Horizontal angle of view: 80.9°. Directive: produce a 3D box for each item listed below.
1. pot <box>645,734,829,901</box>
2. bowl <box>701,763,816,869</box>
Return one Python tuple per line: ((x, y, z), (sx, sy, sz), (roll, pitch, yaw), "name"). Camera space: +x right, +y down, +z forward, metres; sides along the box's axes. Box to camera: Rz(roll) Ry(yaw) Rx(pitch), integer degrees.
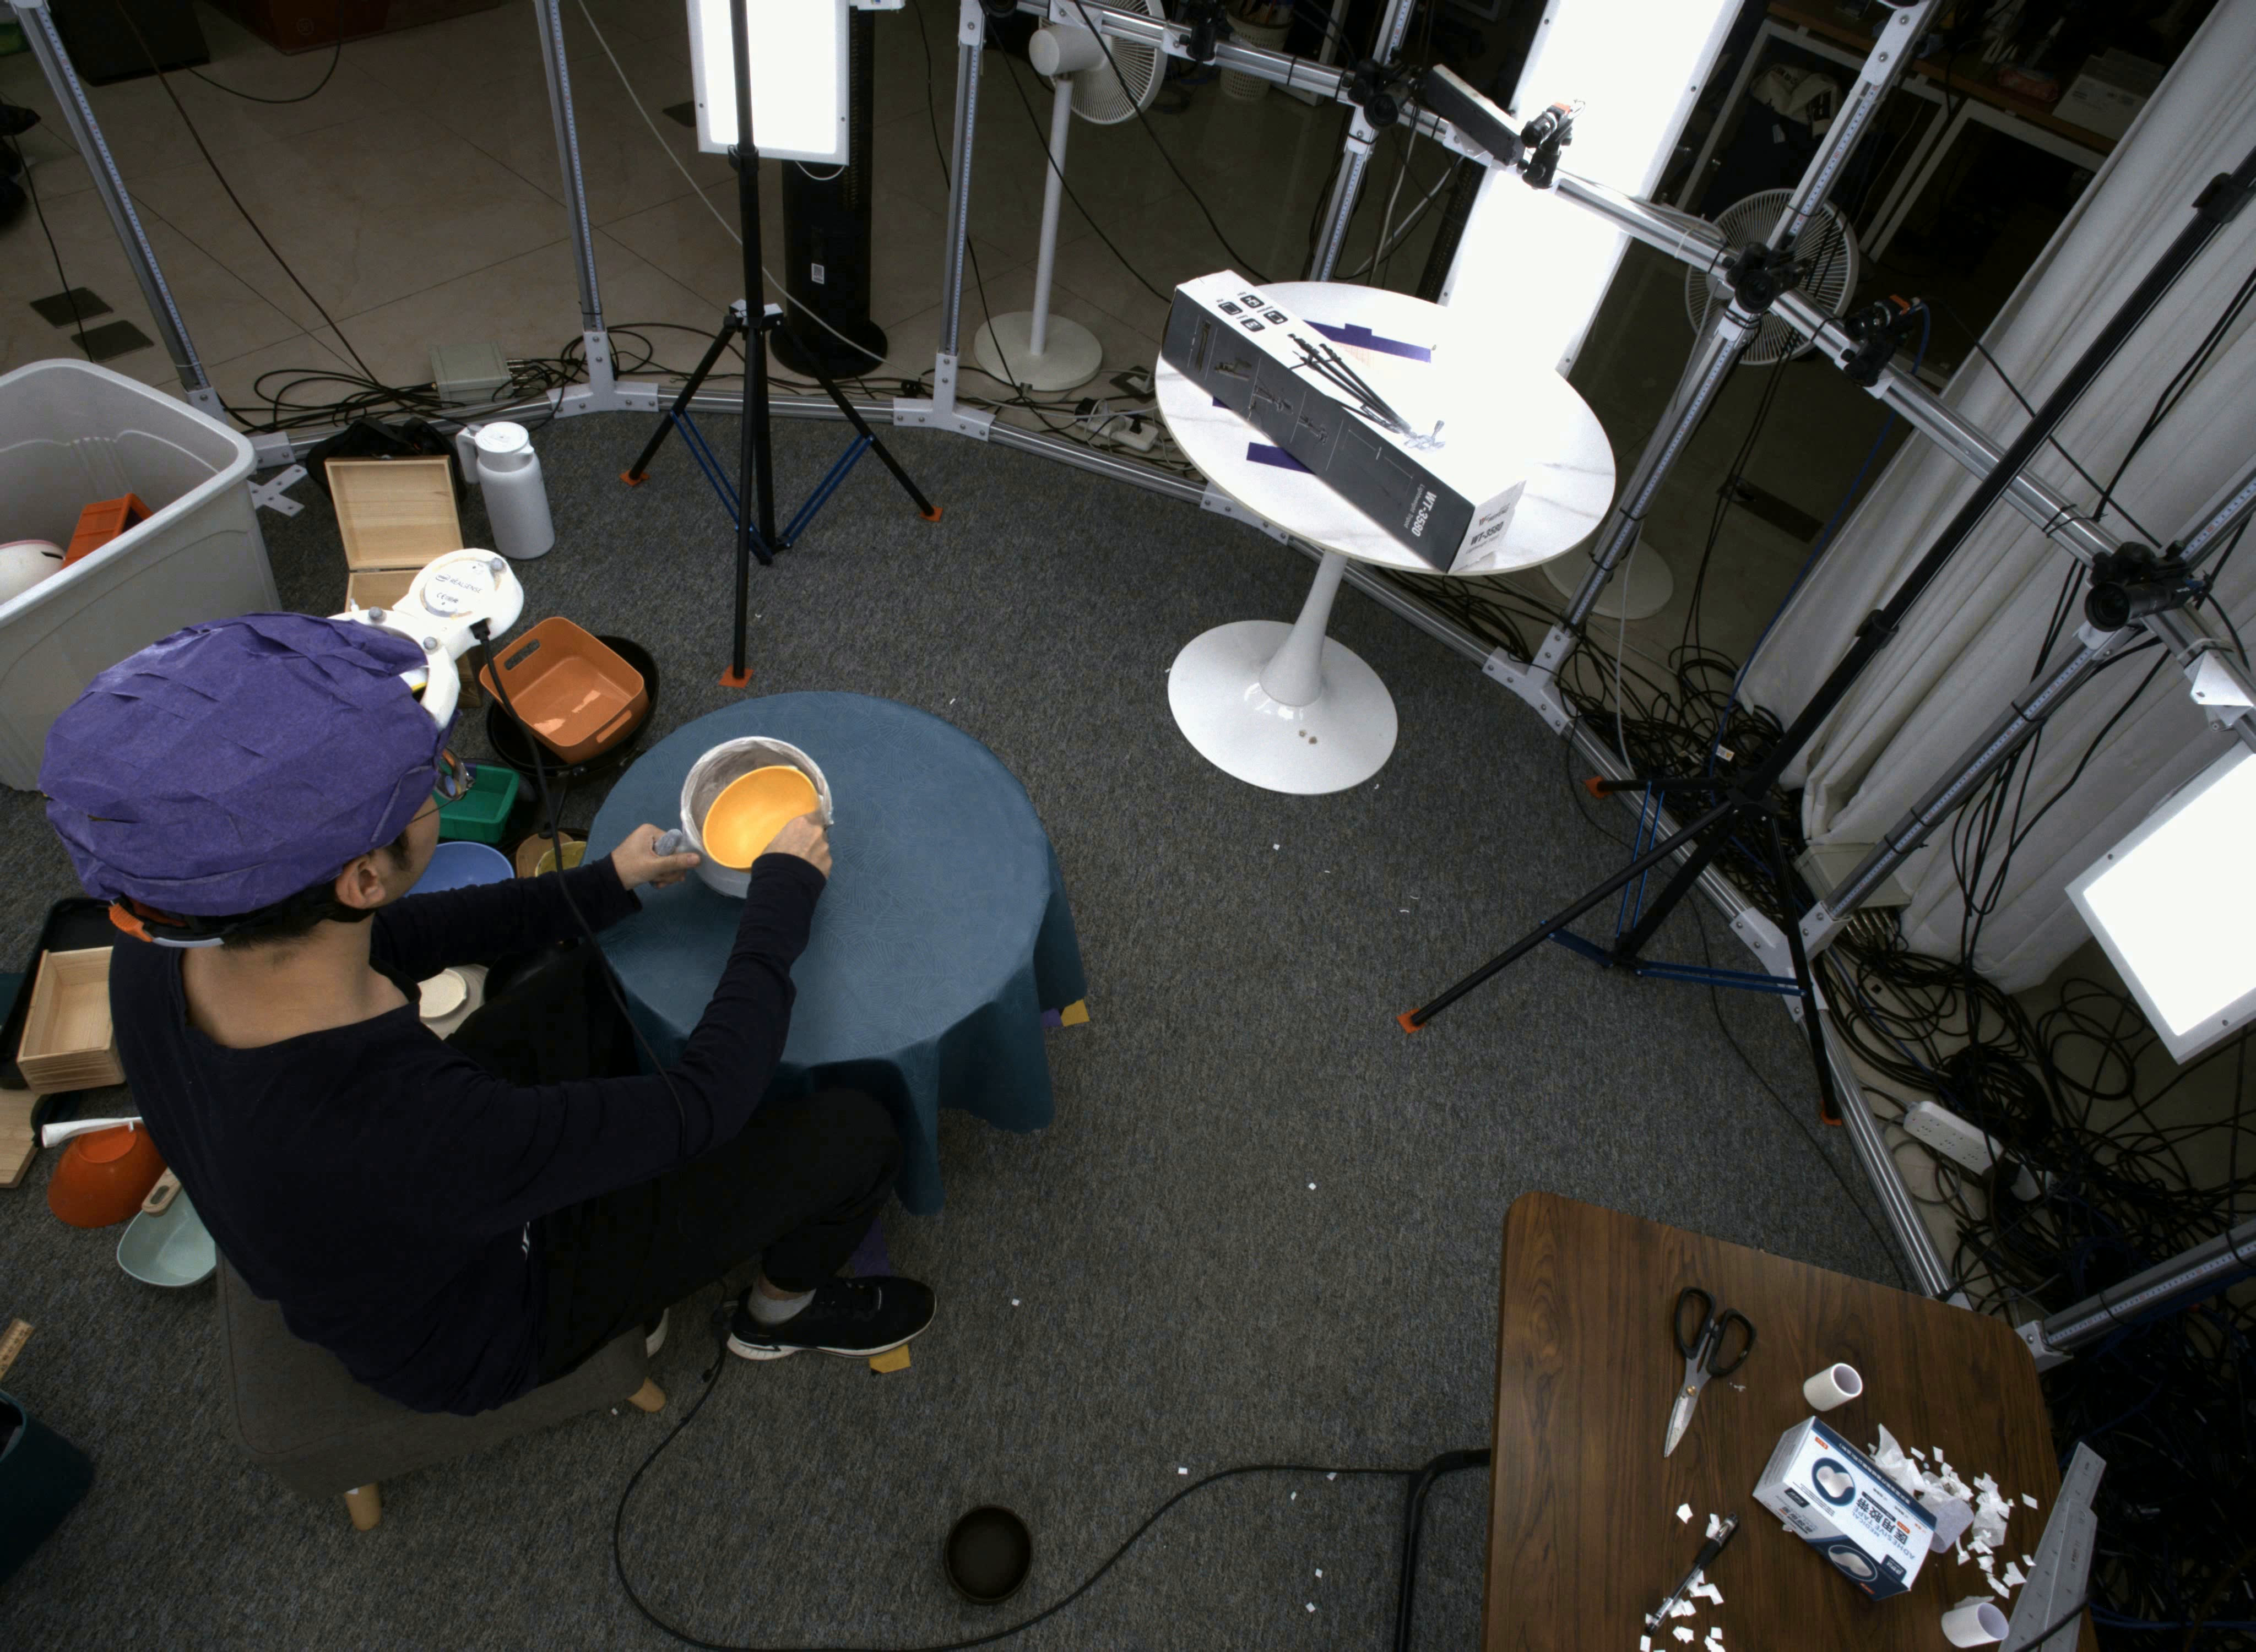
((-0.487, 0.005, 1.600), (0.234, 0.137, 0.178), (-27, 80, -23), "pot")
((-0.425, -0.001, 1.526), (0.142, 0.062, 0.143), (-8, 52, 11), "bowl")
